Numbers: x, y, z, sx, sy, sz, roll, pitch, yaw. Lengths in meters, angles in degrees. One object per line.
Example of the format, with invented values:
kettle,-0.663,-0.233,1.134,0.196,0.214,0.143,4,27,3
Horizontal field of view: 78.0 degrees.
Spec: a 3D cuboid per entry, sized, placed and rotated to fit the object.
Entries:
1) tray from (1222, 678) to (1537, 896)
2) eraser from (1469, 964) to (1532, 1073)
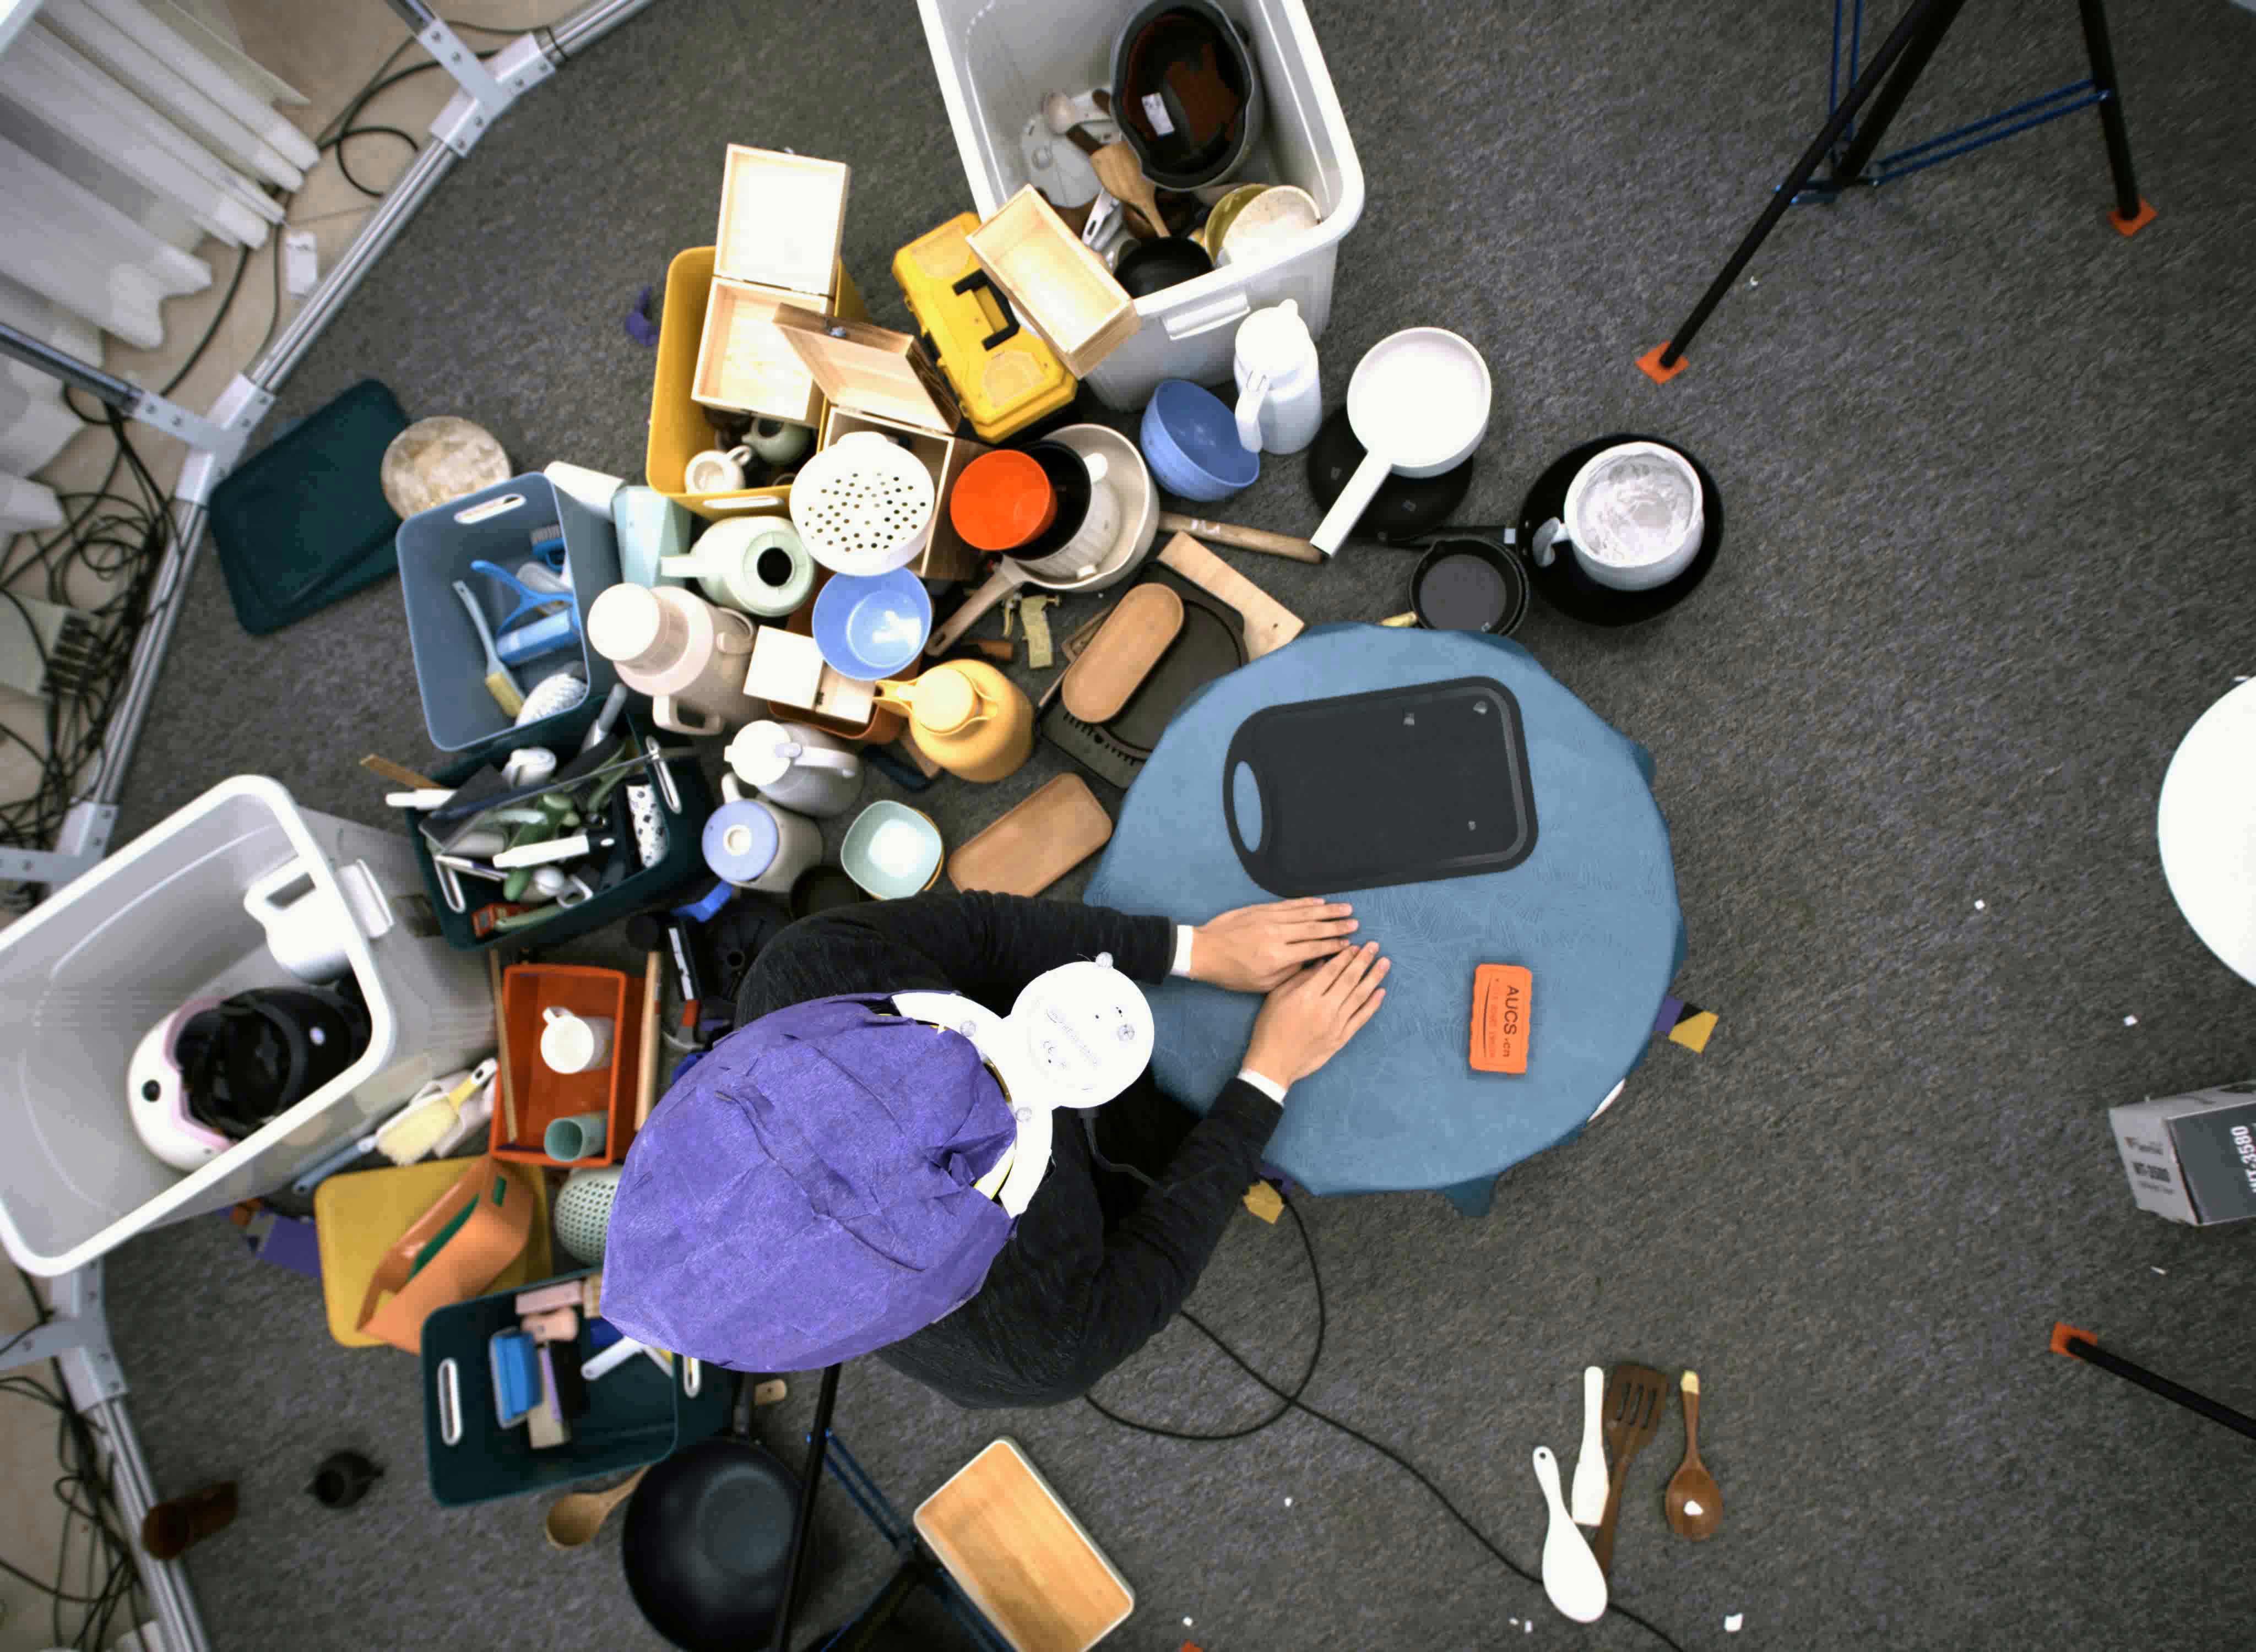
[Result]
tray,0.262,-0.041,1.464,0.327,0.010,0.210,-7,85,10
eraser,0.382,0.194,1.417,0.059,0.023,0.108,4,89,12
